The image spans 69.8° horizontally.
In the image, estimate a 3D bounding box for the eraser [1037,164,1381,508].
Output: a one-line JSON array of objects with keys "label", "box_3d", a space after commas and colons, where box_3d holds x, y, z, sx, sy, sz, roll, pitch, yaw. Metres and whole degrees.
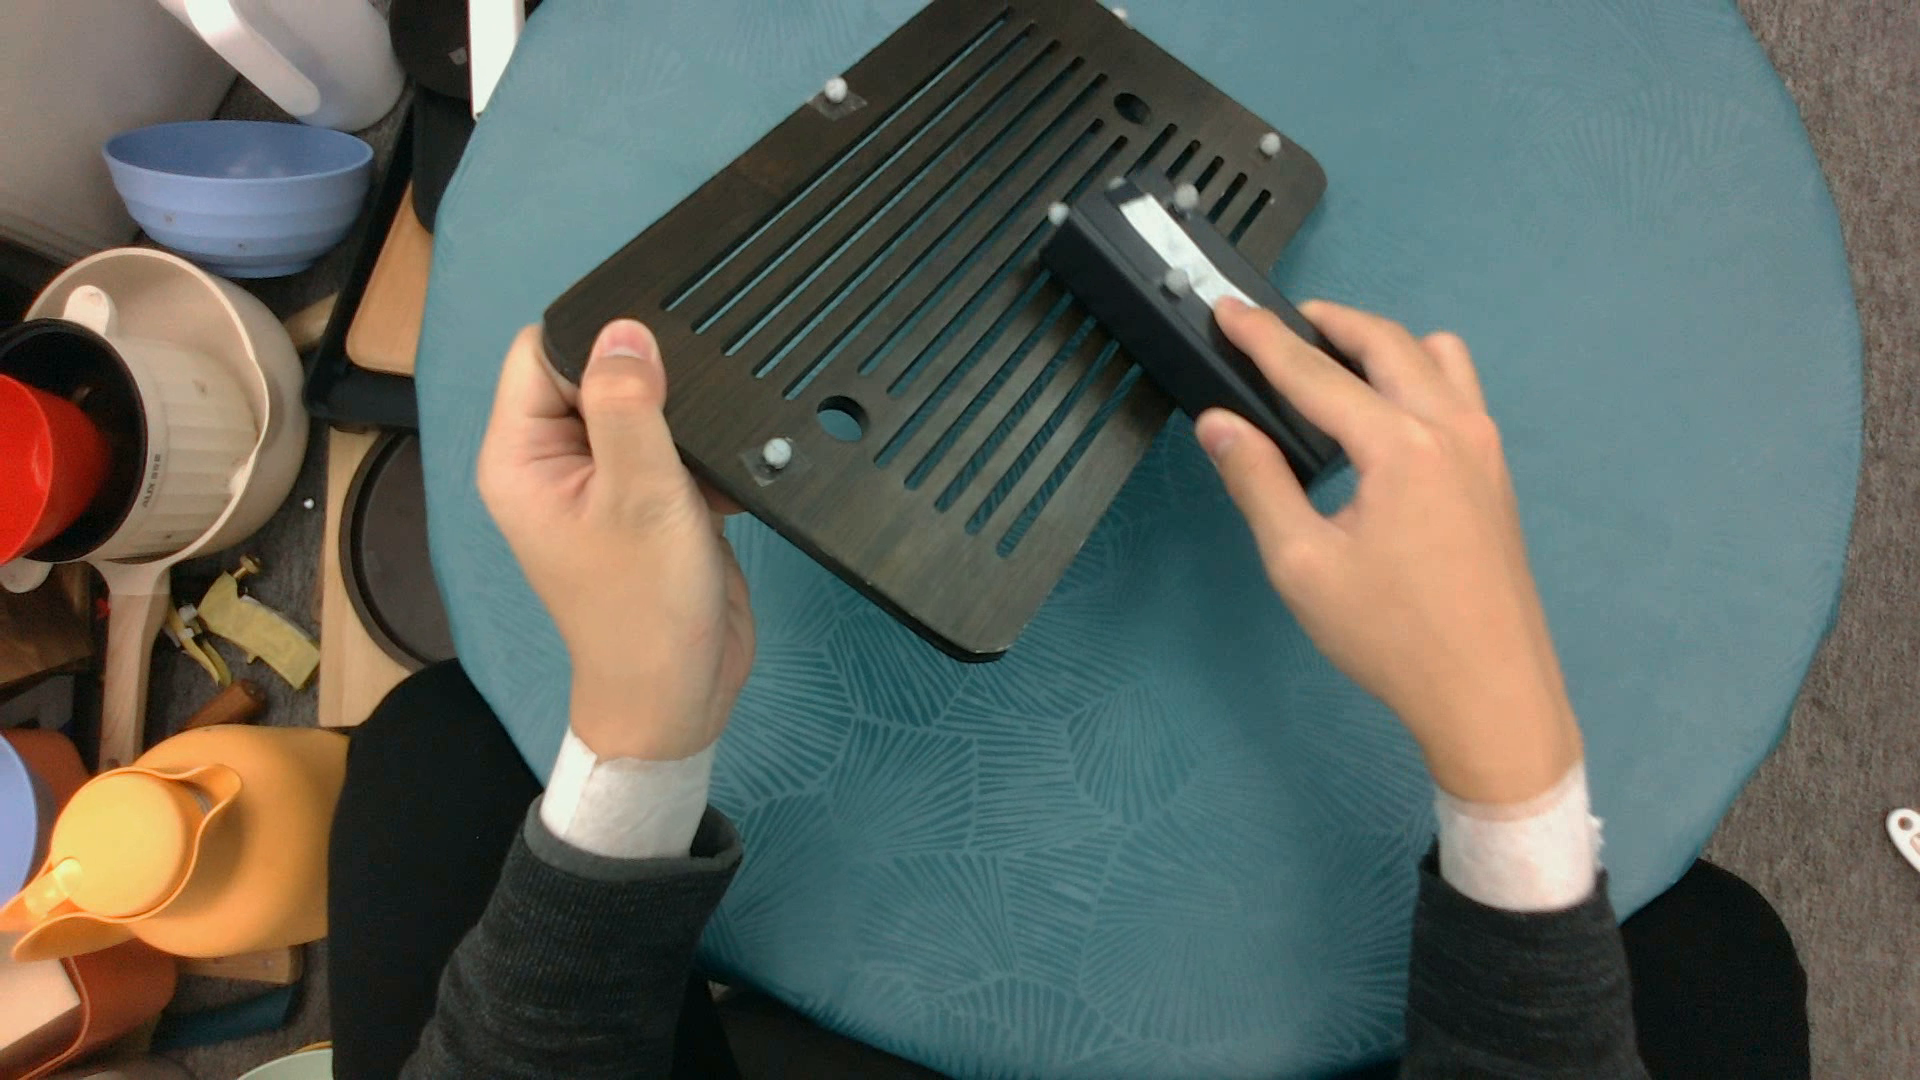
[{"label": "eraser", "box_3d": [0.086, -0.072, 0.481, 0.054, 0.030, 0.125, -35, 79, -34]}]

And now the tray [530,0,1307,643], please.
[{"label": "tray", "box_3d": [0.007, -0.109, 0.496, 0.170, 0.018, 0.307, 36, 52, 2]}]
